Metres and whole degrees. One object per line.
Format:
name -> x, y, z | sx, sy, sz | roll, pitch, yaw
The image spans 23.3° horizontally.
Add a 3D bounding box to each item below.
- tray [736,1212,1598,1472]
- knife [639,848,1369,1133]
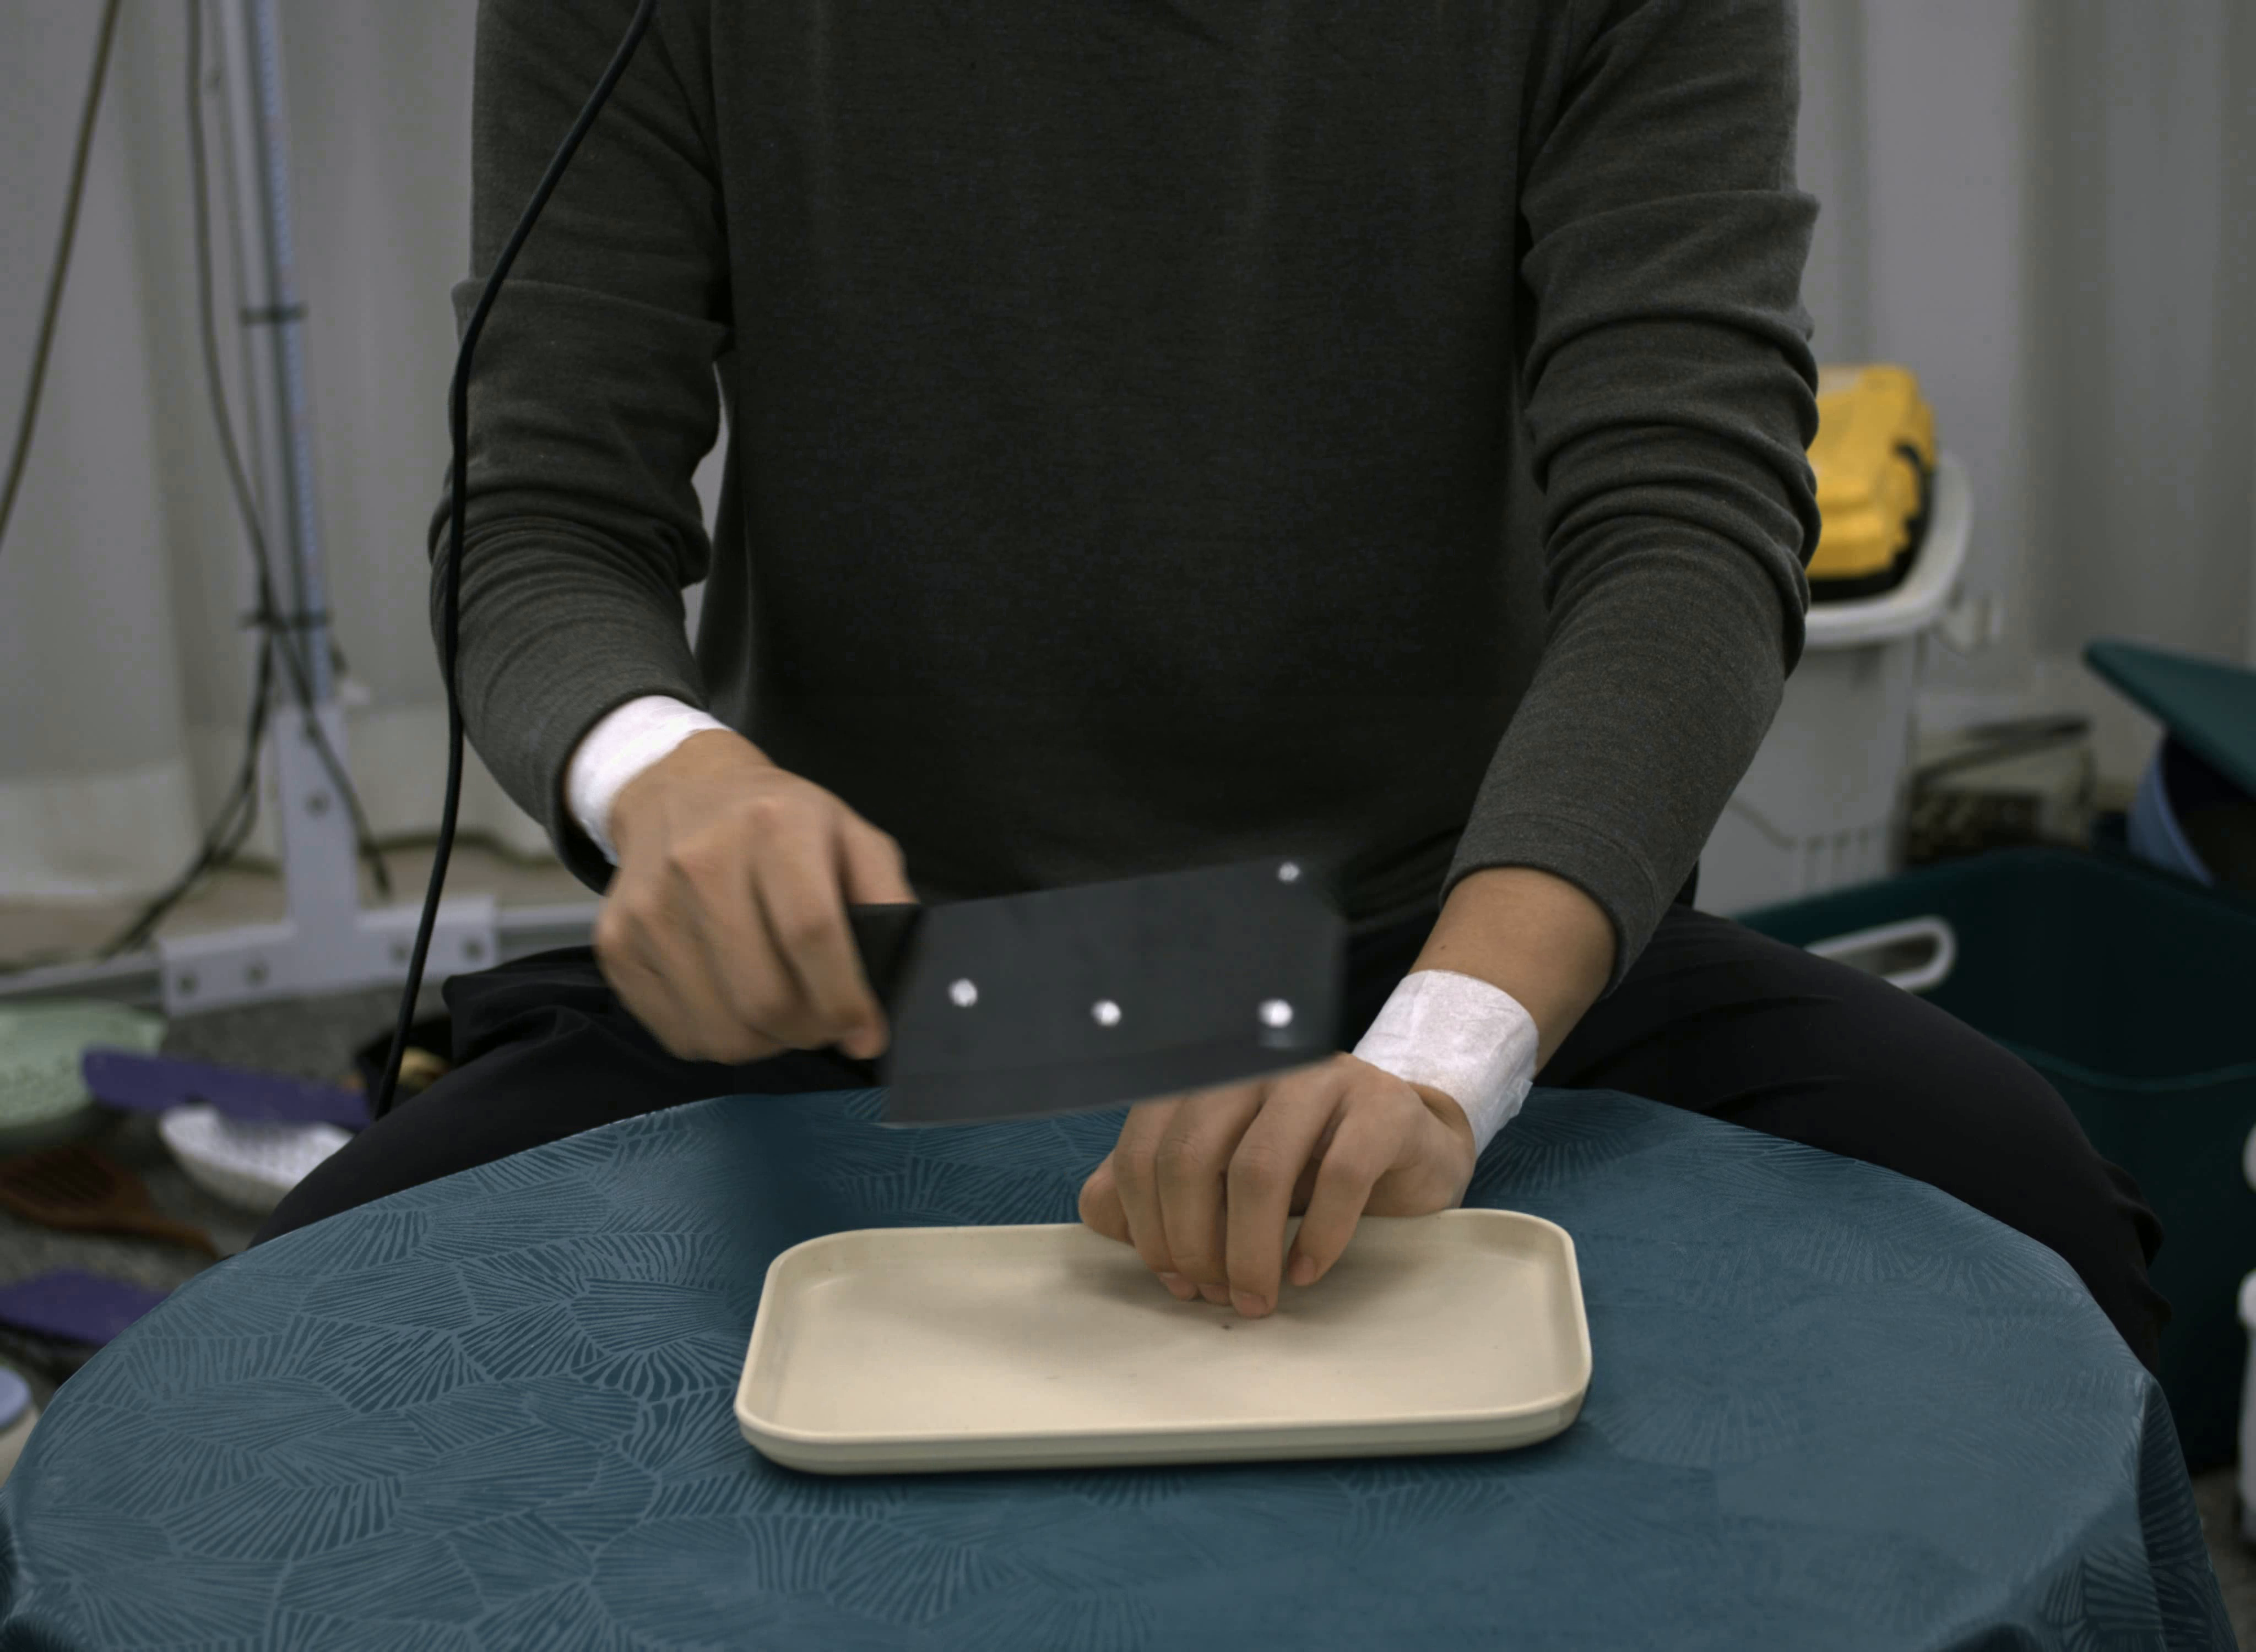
tray -> 0.012, 0.147, 1.557 | 0.239, 0.017, 0.172 | -2, 14, 2
knife -> -0.040, 0.049, 1.580 | 0.020, 0.081, 0.303 | 12, -10, -43
